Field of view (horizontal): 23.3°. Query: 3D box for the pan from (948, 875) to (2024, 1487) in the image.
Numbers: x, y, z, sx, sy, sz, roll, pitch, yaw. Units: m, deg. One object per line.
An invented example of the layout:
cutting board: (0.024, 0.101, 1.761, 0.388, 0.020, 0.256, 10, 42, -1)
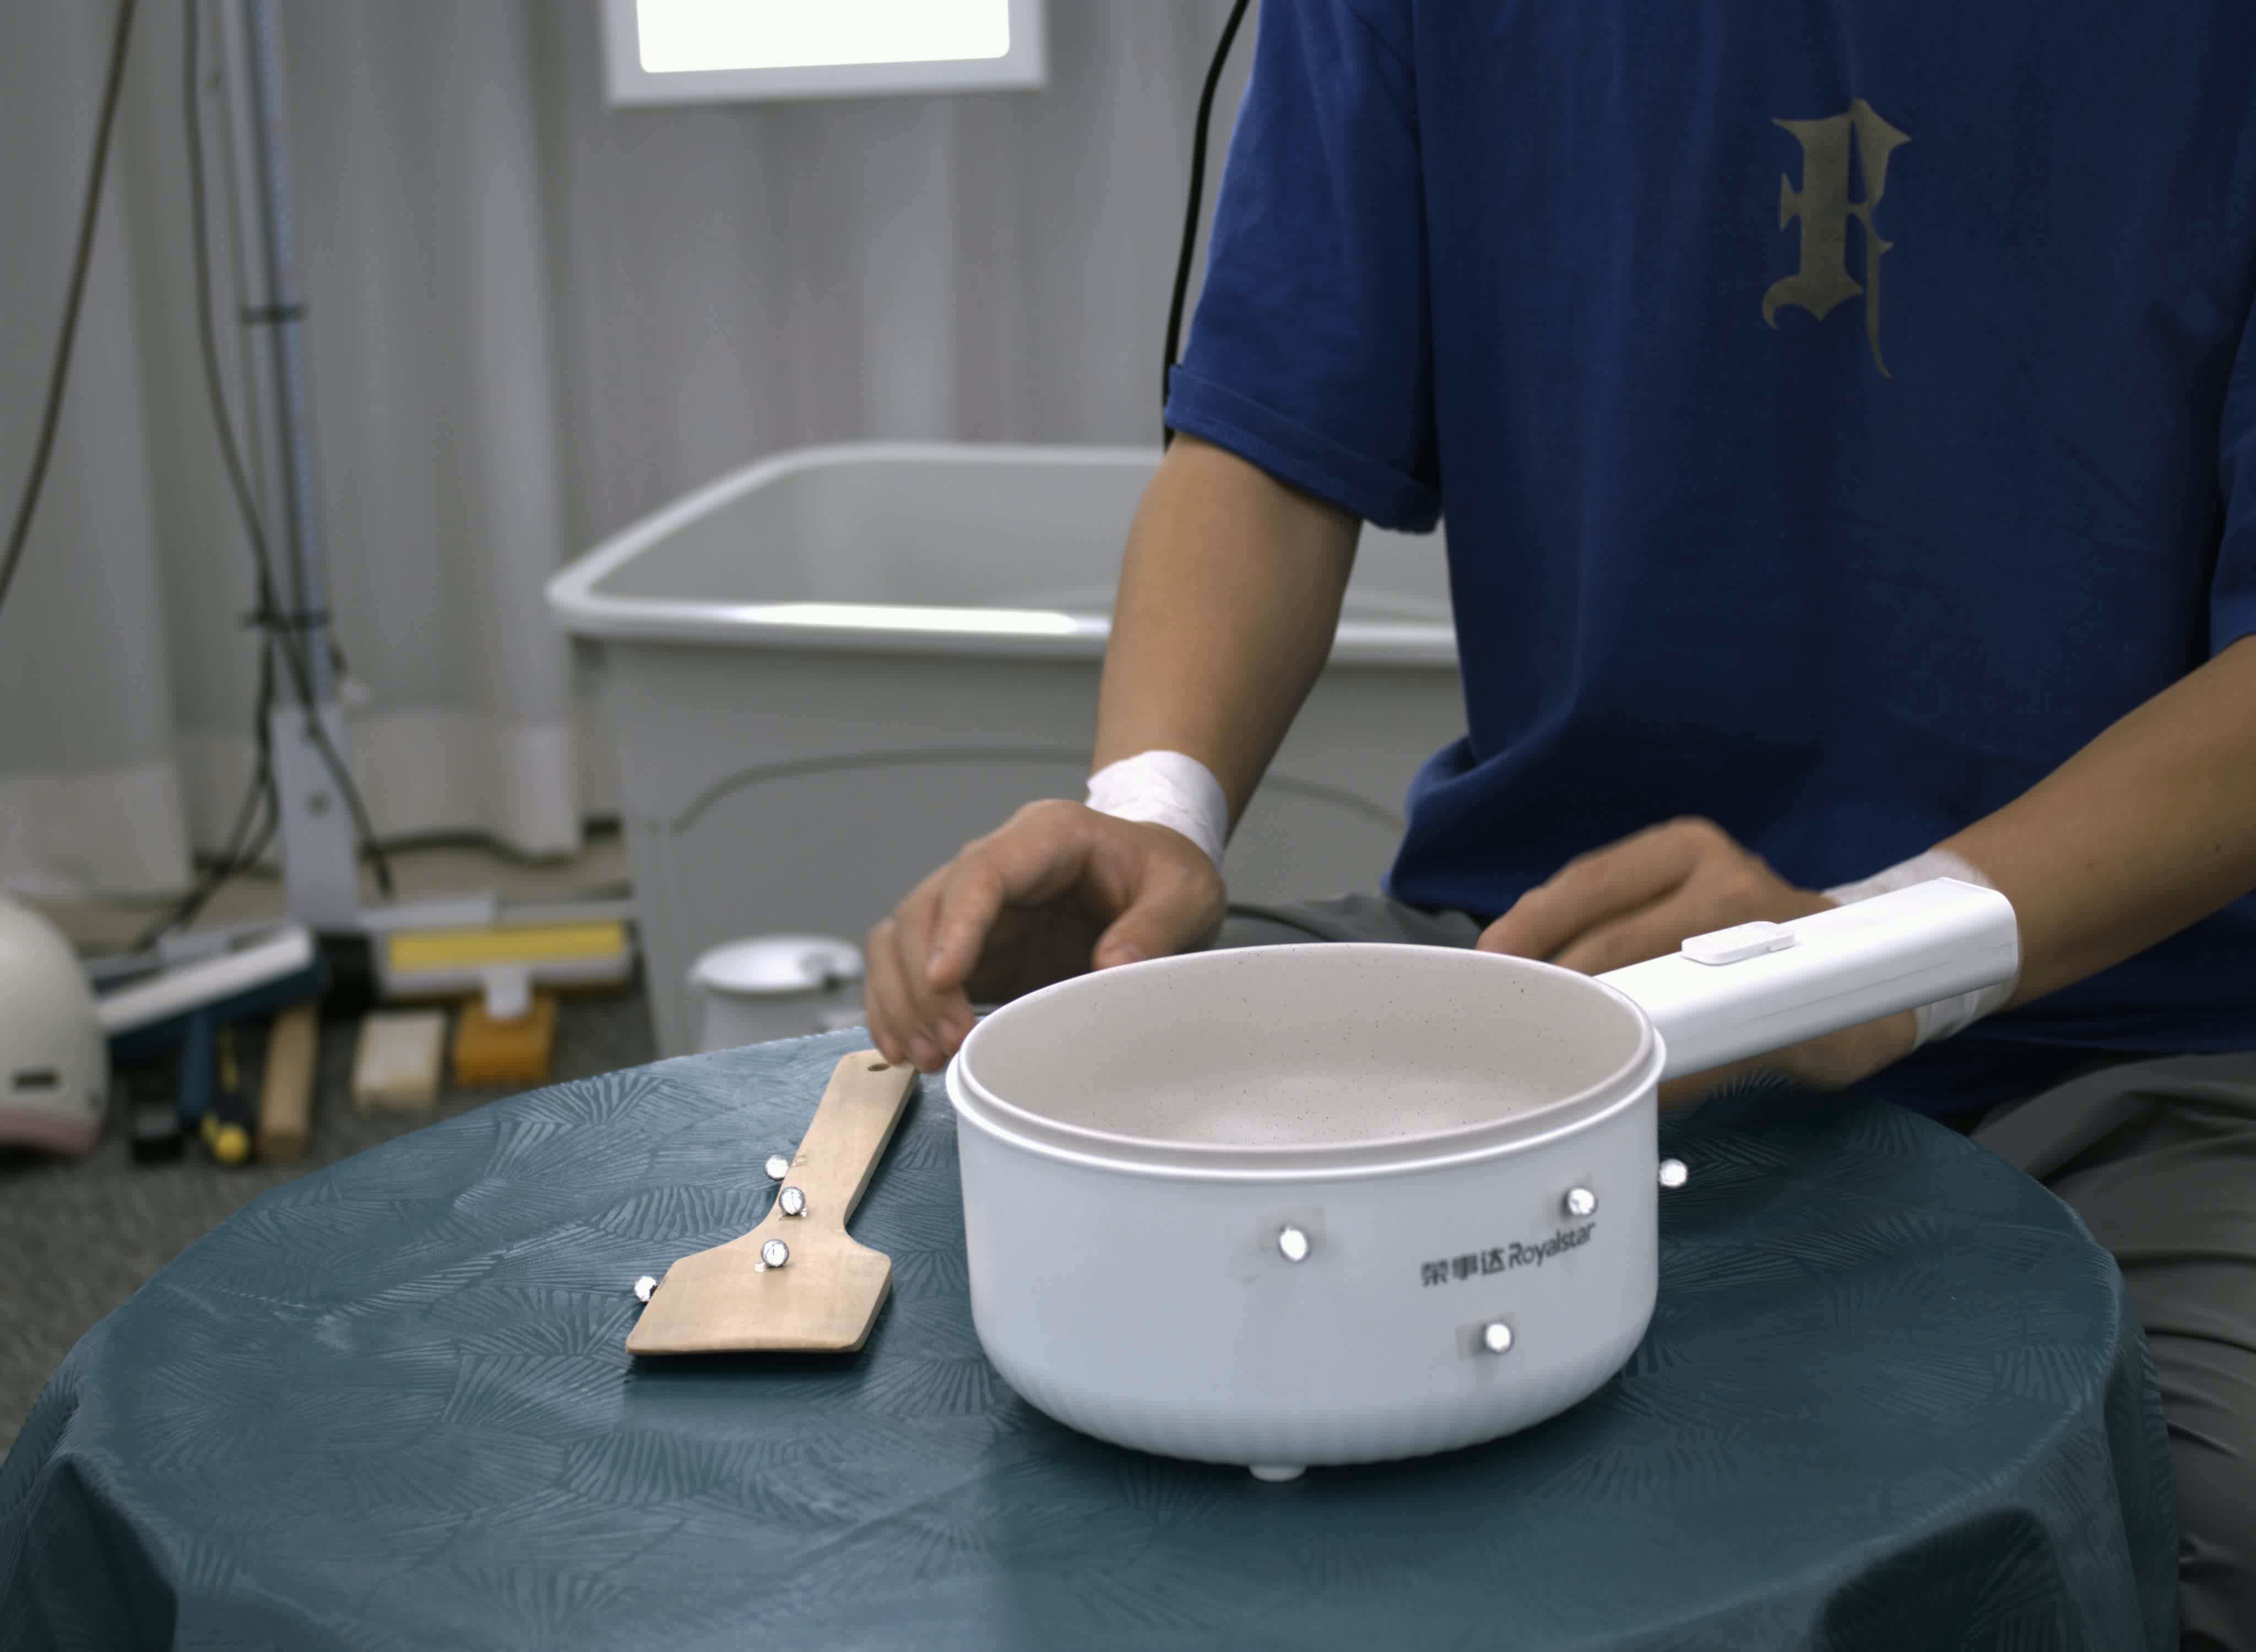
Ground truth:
pan: (0.115, 0.095, 1.574, 0.353, 0.102, 0.202, -13, 15, -33)

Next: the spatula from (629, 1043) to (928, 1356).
spatula: (-0.097, 0.115, 1.711, 0.072, 0.010, 0.295, -2, 15, 7)
